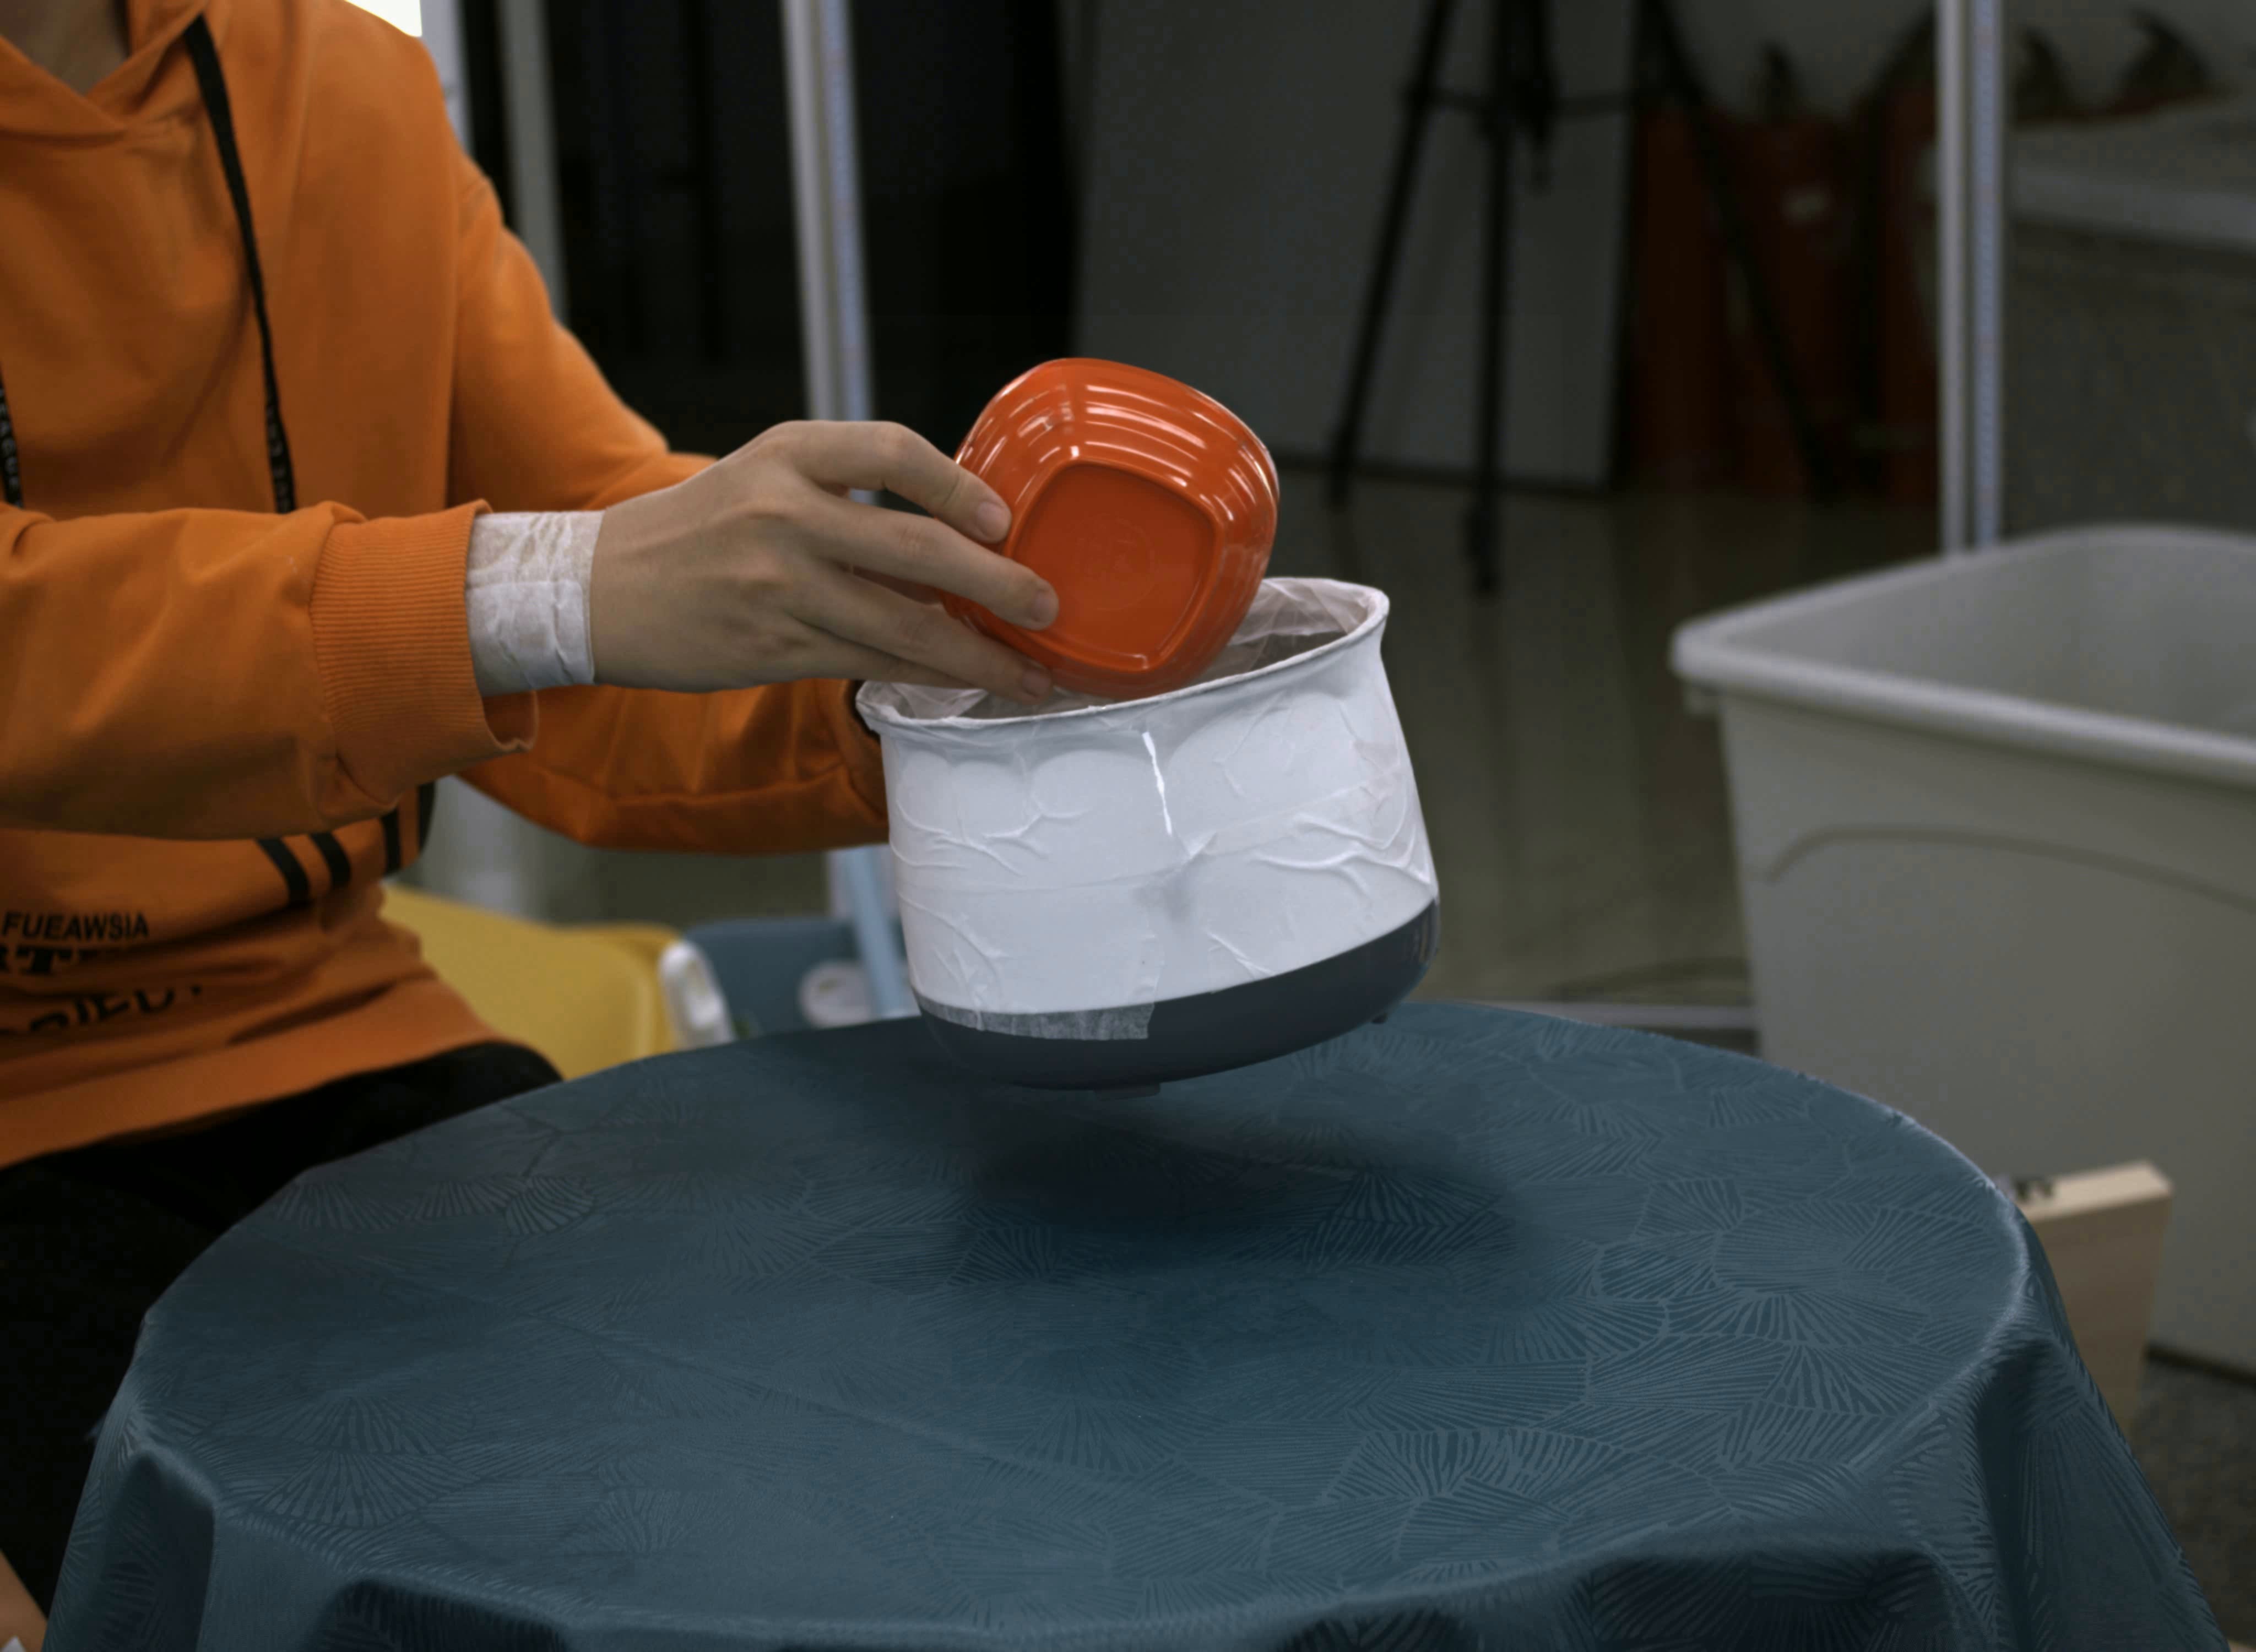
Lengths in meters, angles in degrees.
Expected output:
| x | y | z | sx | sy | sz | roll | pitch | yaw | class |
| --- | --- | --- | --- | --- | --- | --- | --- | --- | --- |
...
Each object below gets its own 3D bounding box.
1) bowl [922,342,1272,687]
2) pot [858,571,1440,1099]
| x | y | z | sx | sy | sz | roll | pitch | yaw | class |
| --- | --- | --- | --- | --- | --- | --- | --- | --- | --- |
| -0.009 | -0.093 | 1.740 | 0.117 | 0.120 | 0.051 | -4 | 18 | -1 | bowl |
| -0.004 | -0.001 | 1.778 | 0.175 | 0.138 | 0.236 | -16 | 13 | -25 | pot |
